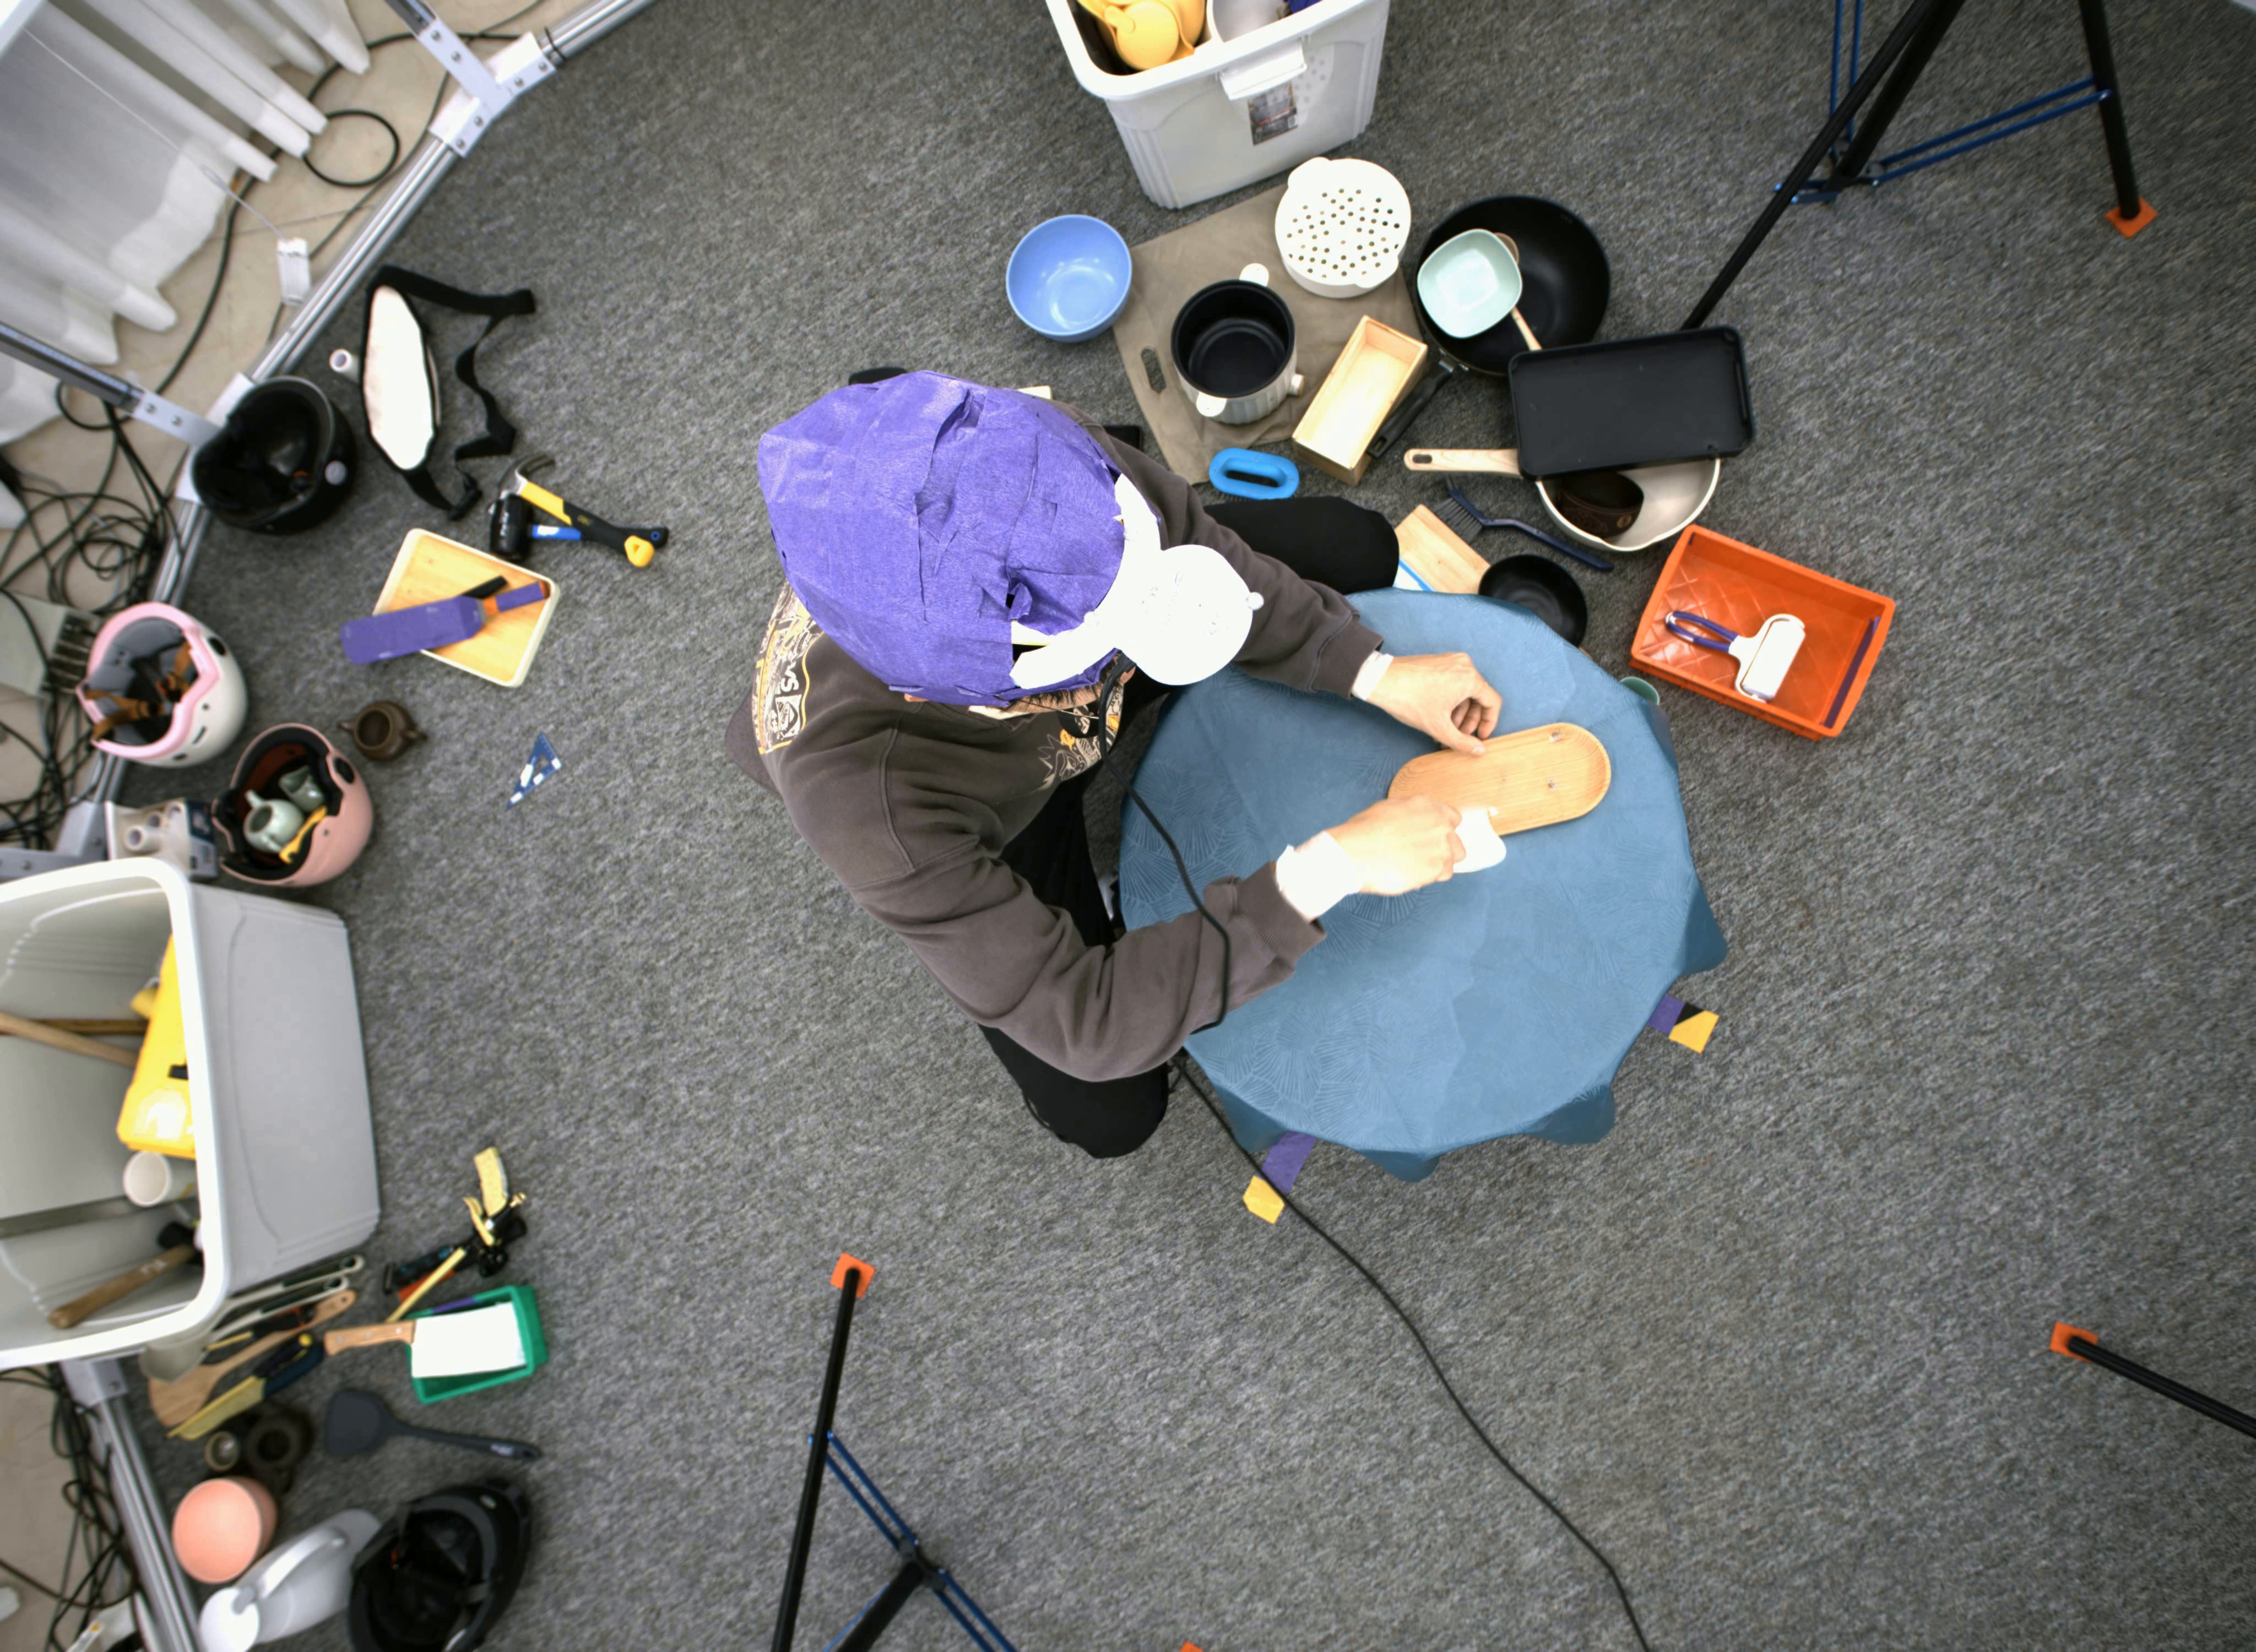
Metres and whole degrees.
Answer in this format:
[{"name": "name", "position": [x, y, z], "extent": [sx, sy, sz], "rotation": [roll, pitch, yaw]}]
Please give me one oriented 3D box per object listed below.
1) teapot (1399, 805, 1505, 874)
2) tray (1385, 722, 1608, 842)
[{"name": "teapot", "position": [0.301, 0.011, 1.285], "extent": [0.097, 0.136, 0.061], "rotation": [0, 93, 23]}, {"name": "tray", "position": [0.383, -0.043, 1.433], "extent": [0.232, 0.020, 0.101], "rotation": [-15, 84, 11]}]
